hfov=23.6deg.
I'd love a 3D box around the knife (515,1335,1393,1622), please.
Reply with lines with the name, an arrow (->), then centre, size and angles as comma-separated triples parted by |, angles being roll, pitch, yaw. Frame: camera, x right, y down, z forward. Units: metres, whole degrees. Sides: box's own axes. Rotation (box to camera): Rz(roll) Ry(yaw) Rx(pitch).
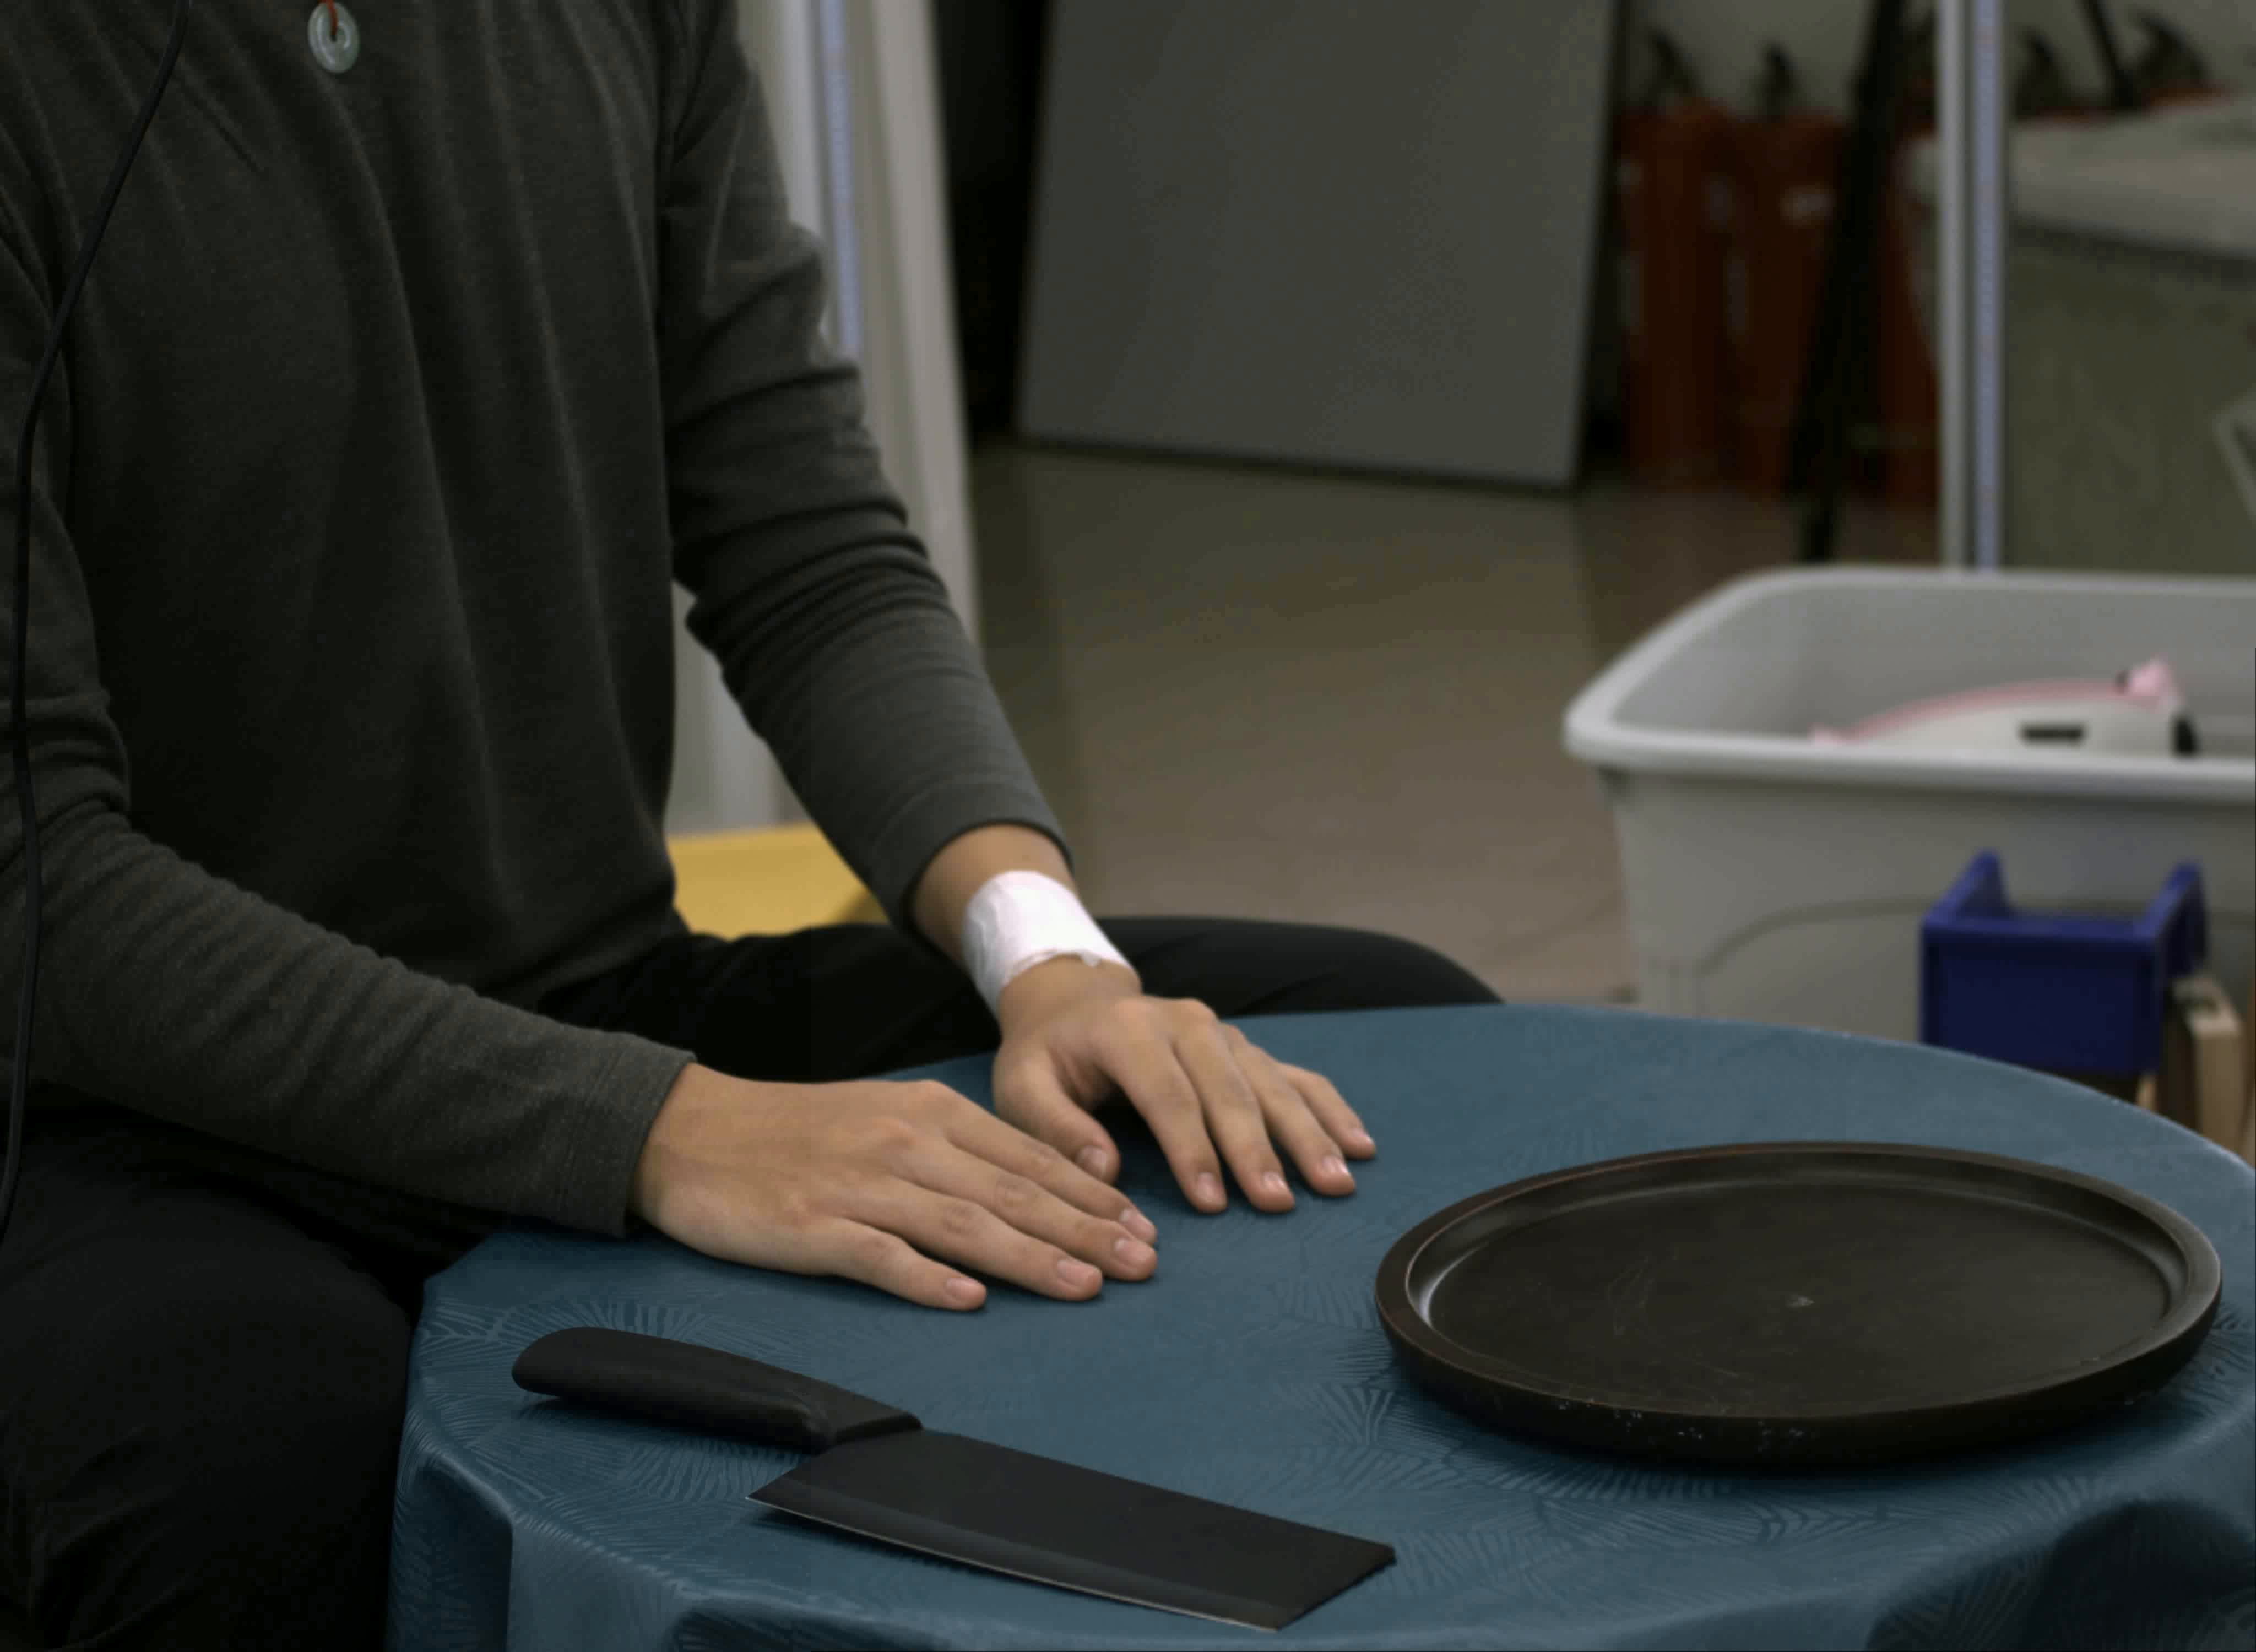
knife -> -0.061, 0.182, 1.513 | 0.305, 0.021, 0.079 | 10, 21, 41

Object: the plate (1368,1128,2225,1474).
plate -> 0.196, 0.140, 1.590 | 0.251, 0.029, 0.255 | -5, 14, 0
